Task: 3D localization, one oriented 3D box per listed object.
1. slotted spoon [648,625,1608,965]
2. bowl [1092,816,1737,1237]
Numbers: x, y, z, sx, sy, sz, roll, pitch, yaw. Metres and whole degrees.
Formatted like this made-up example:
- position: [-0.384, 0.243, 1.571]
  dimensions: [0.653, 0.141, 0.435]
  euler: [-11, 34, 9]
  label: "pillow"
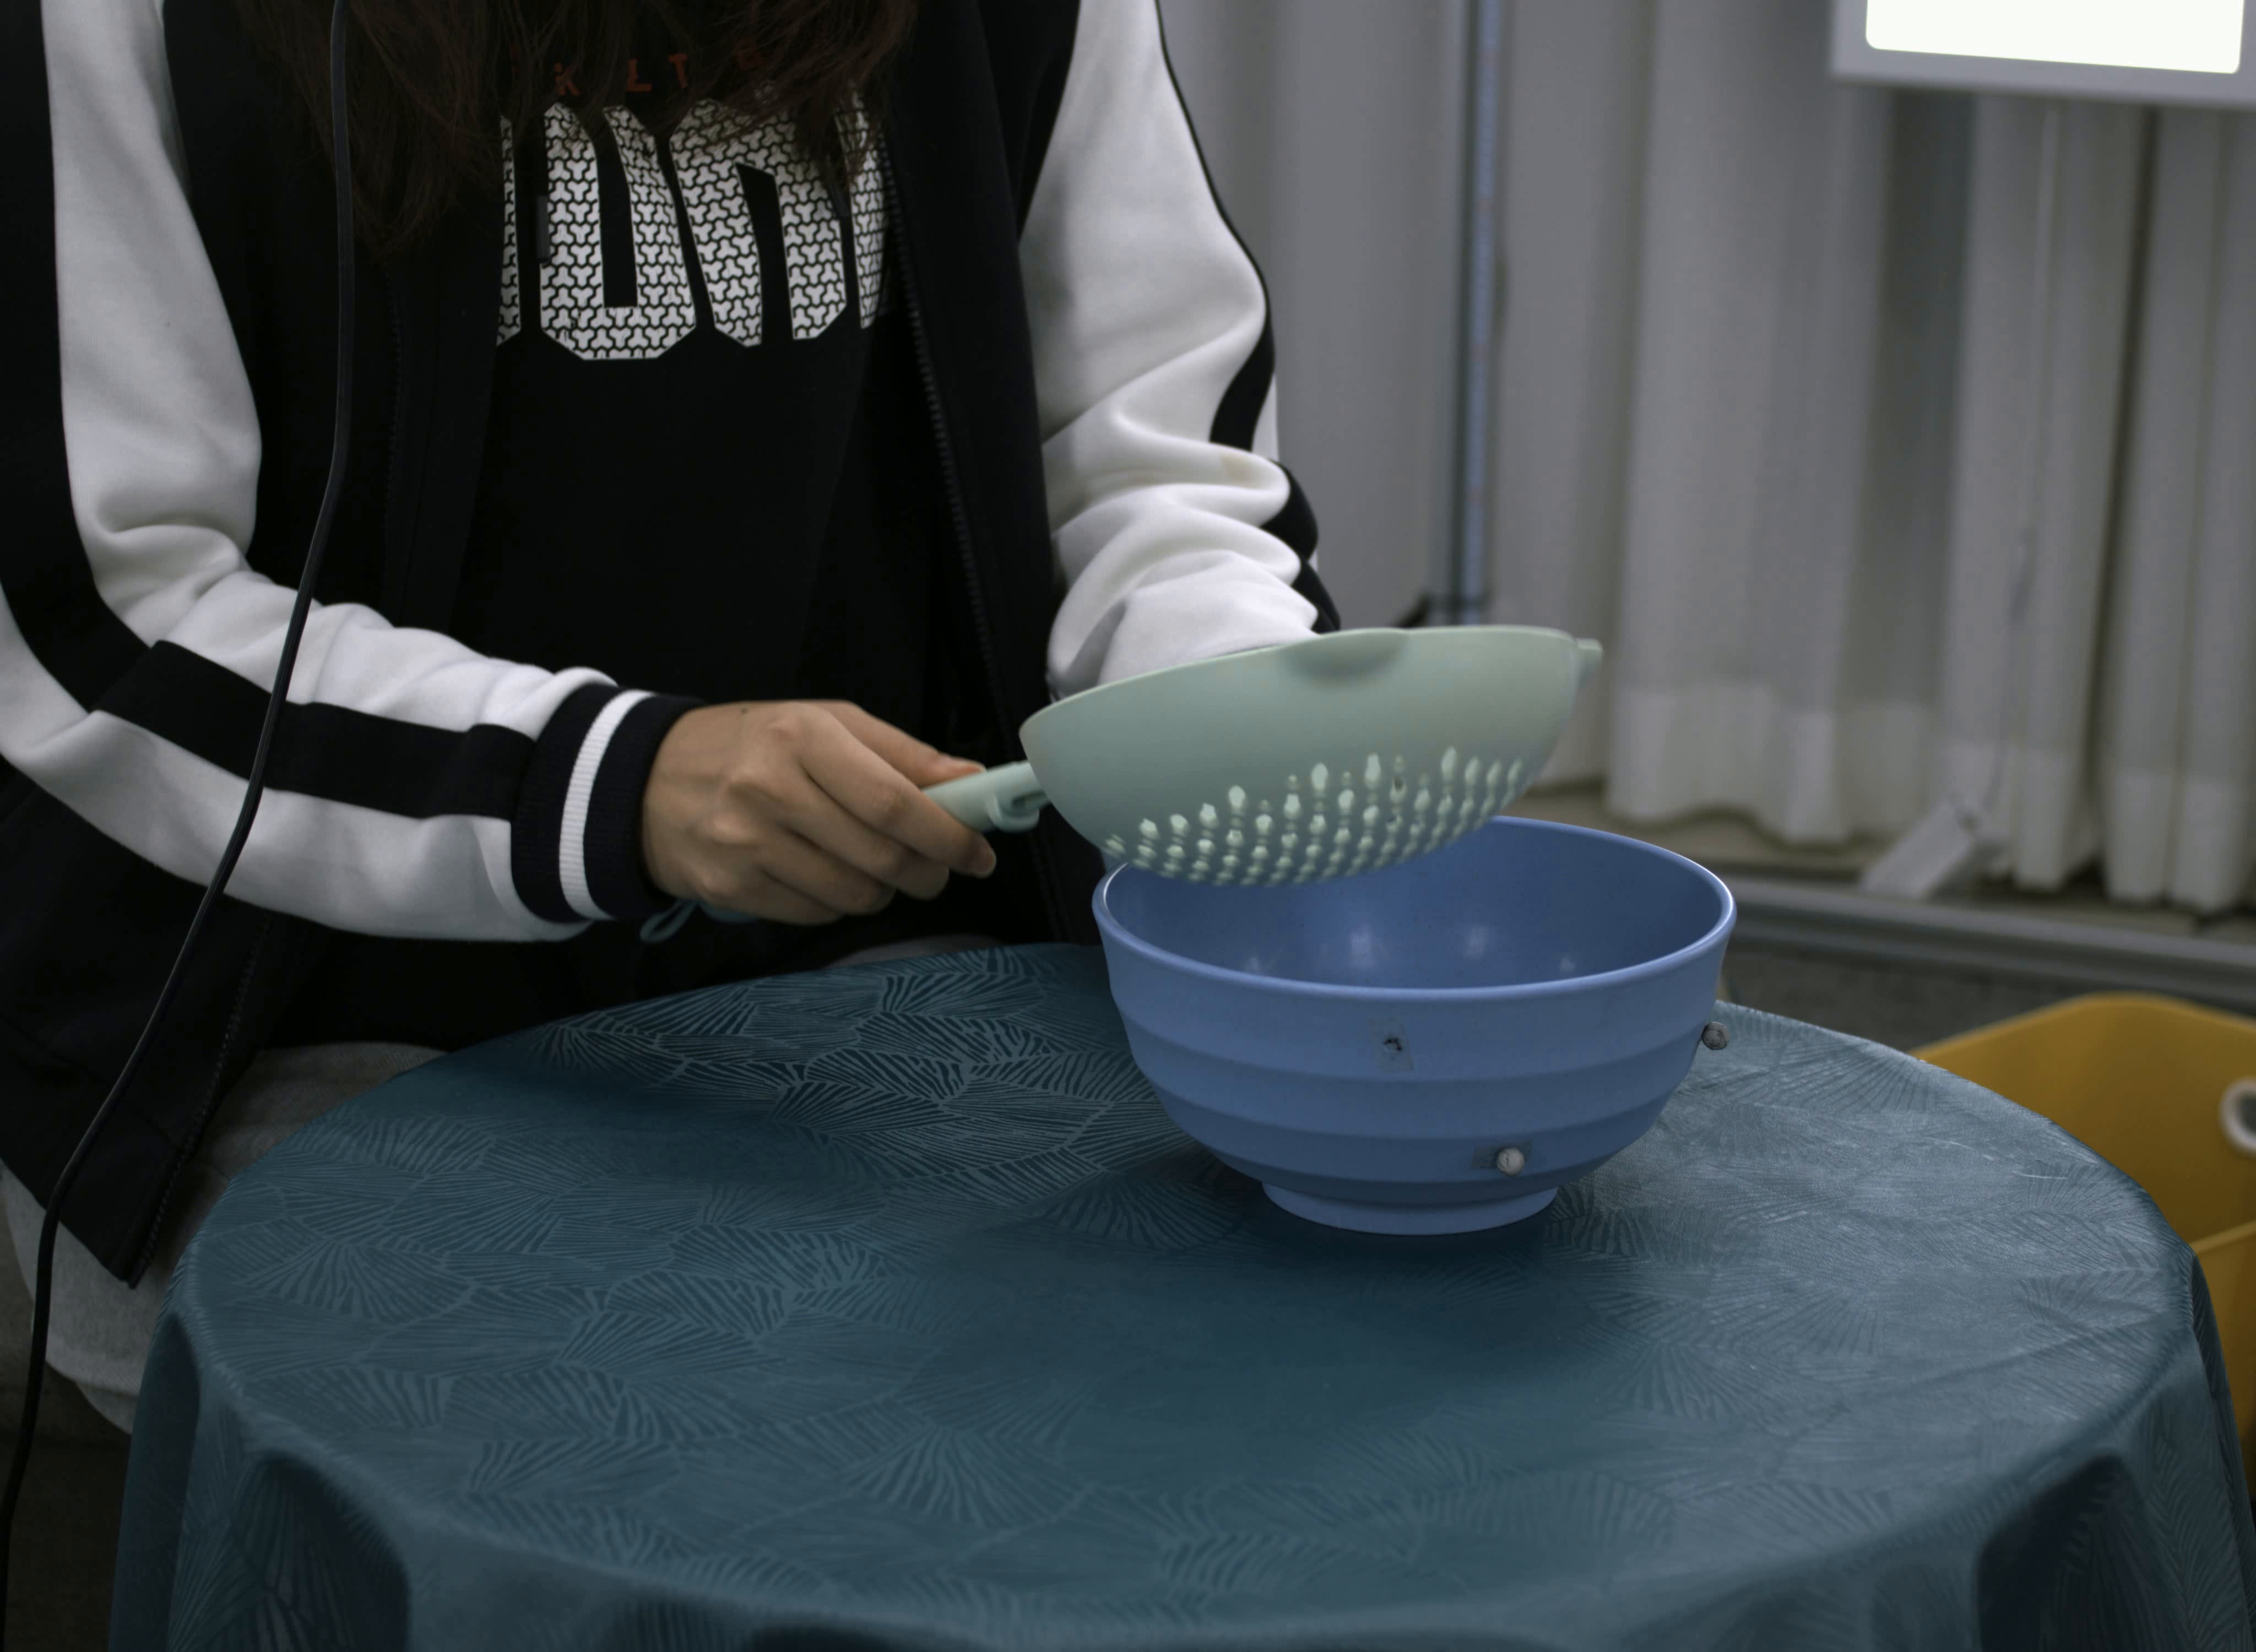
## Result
- position: [-0.020, -0.006, 1.632]
  dimensions: [0.355, 0.075, 0.171]
  euler: [-6, -7, 38]
  label: "slotted spoon"
- position: [0.087, 0.066, 1.613]
  dimensions: [0.196, 0.096, 0.195]
  euler: [0, 16, 1]
  label: "bowl"
